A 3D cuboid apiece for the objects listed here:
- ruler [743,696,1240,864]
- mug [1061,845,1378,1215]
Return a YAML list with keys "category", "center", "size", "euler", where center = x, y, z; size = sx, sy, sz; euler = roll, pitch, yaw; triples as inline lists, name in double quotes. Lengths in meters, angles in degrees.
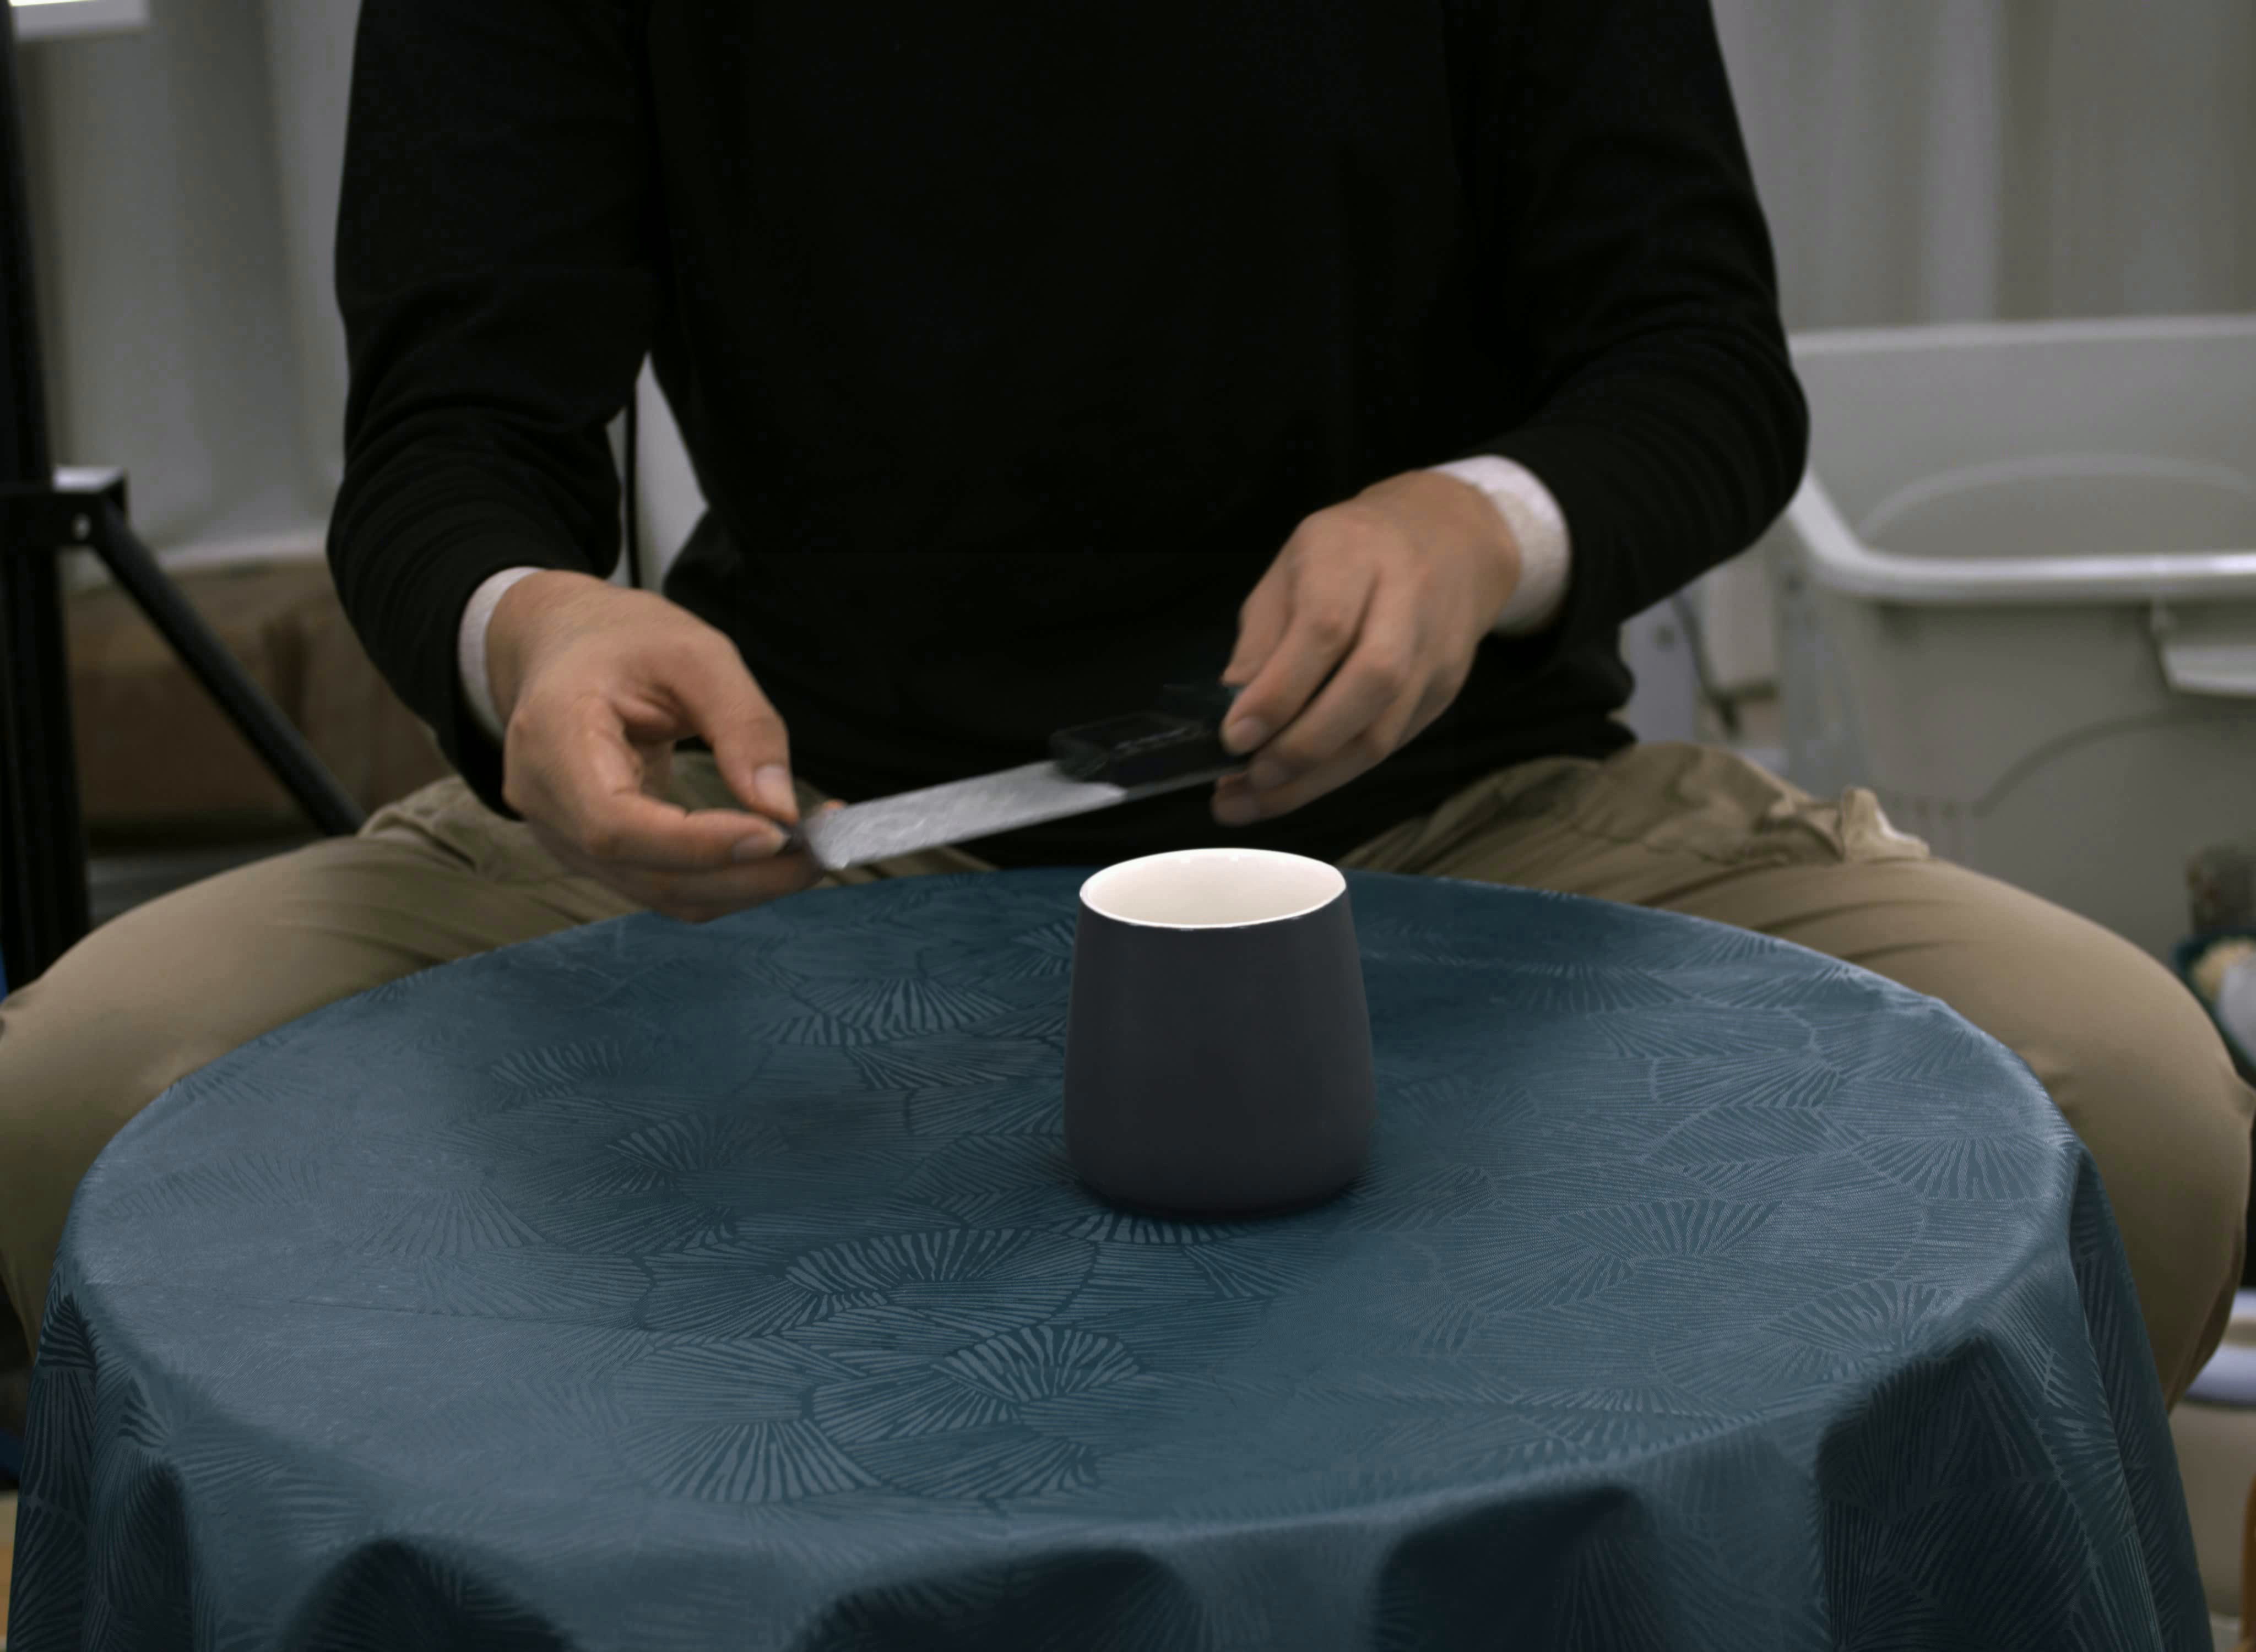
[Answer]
- category: "ruler"
  center: [-0.034, -0.015, 1.618]
  size: [0.039, 0.024, 0.213]
  euler: [10, 13, 35]
- category: "mug"
  center: [0.028, 0.055, 1.568]
  size: [0.093, 0.090, 0.123]
  euler: [0, 16, 5]
